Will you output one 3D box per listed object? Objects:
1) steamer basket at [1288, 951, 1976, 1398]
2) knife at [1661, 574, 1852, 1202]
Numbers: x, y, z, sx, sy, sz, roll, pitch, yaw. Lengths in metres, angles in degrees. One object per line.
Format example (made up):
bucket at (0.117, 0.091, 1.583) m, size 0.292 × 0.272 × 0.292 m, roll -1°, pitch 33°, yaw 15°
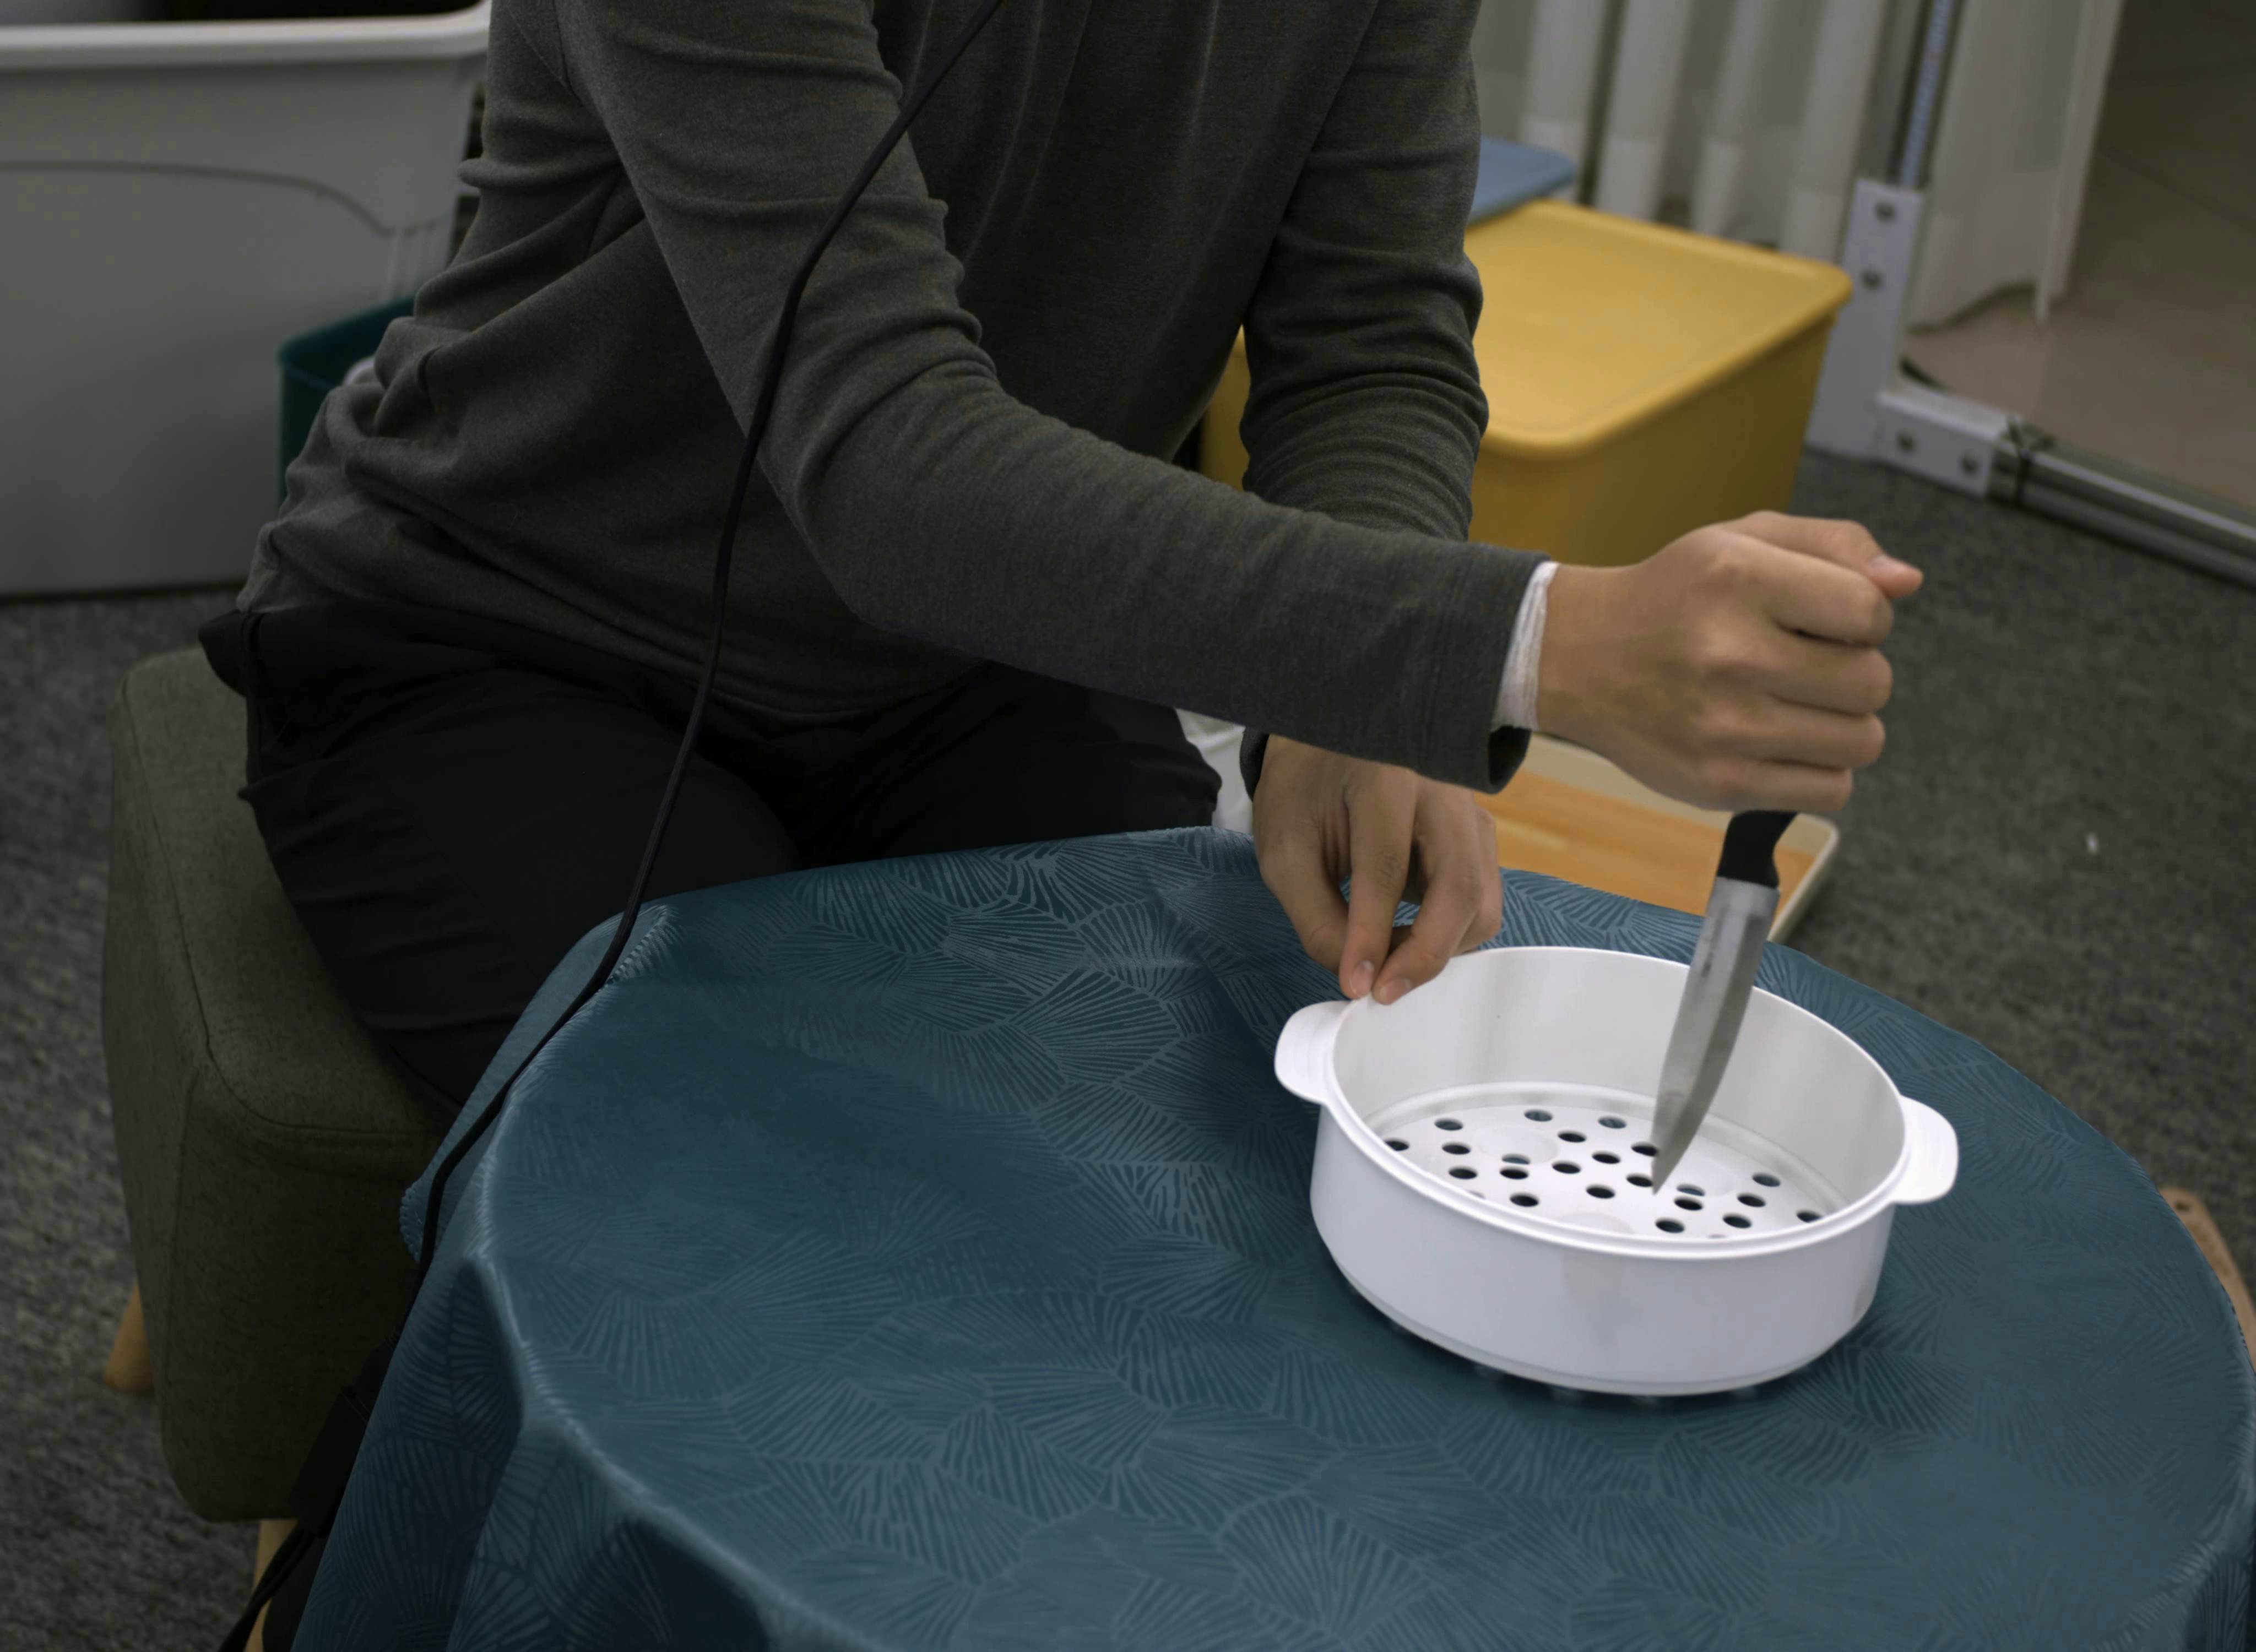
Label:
steamer basket at (0.165, 0.116, 1.782) m, size 0.230 × 0.069 × 0.202 m, roll 9°, pitch 26°, yaw 7°
knife at (0.198, 0.023, 1.726) m, size 0.024 × 0.237 × 0.016 m, roll 19°, pitch 30°, yaw 14°
